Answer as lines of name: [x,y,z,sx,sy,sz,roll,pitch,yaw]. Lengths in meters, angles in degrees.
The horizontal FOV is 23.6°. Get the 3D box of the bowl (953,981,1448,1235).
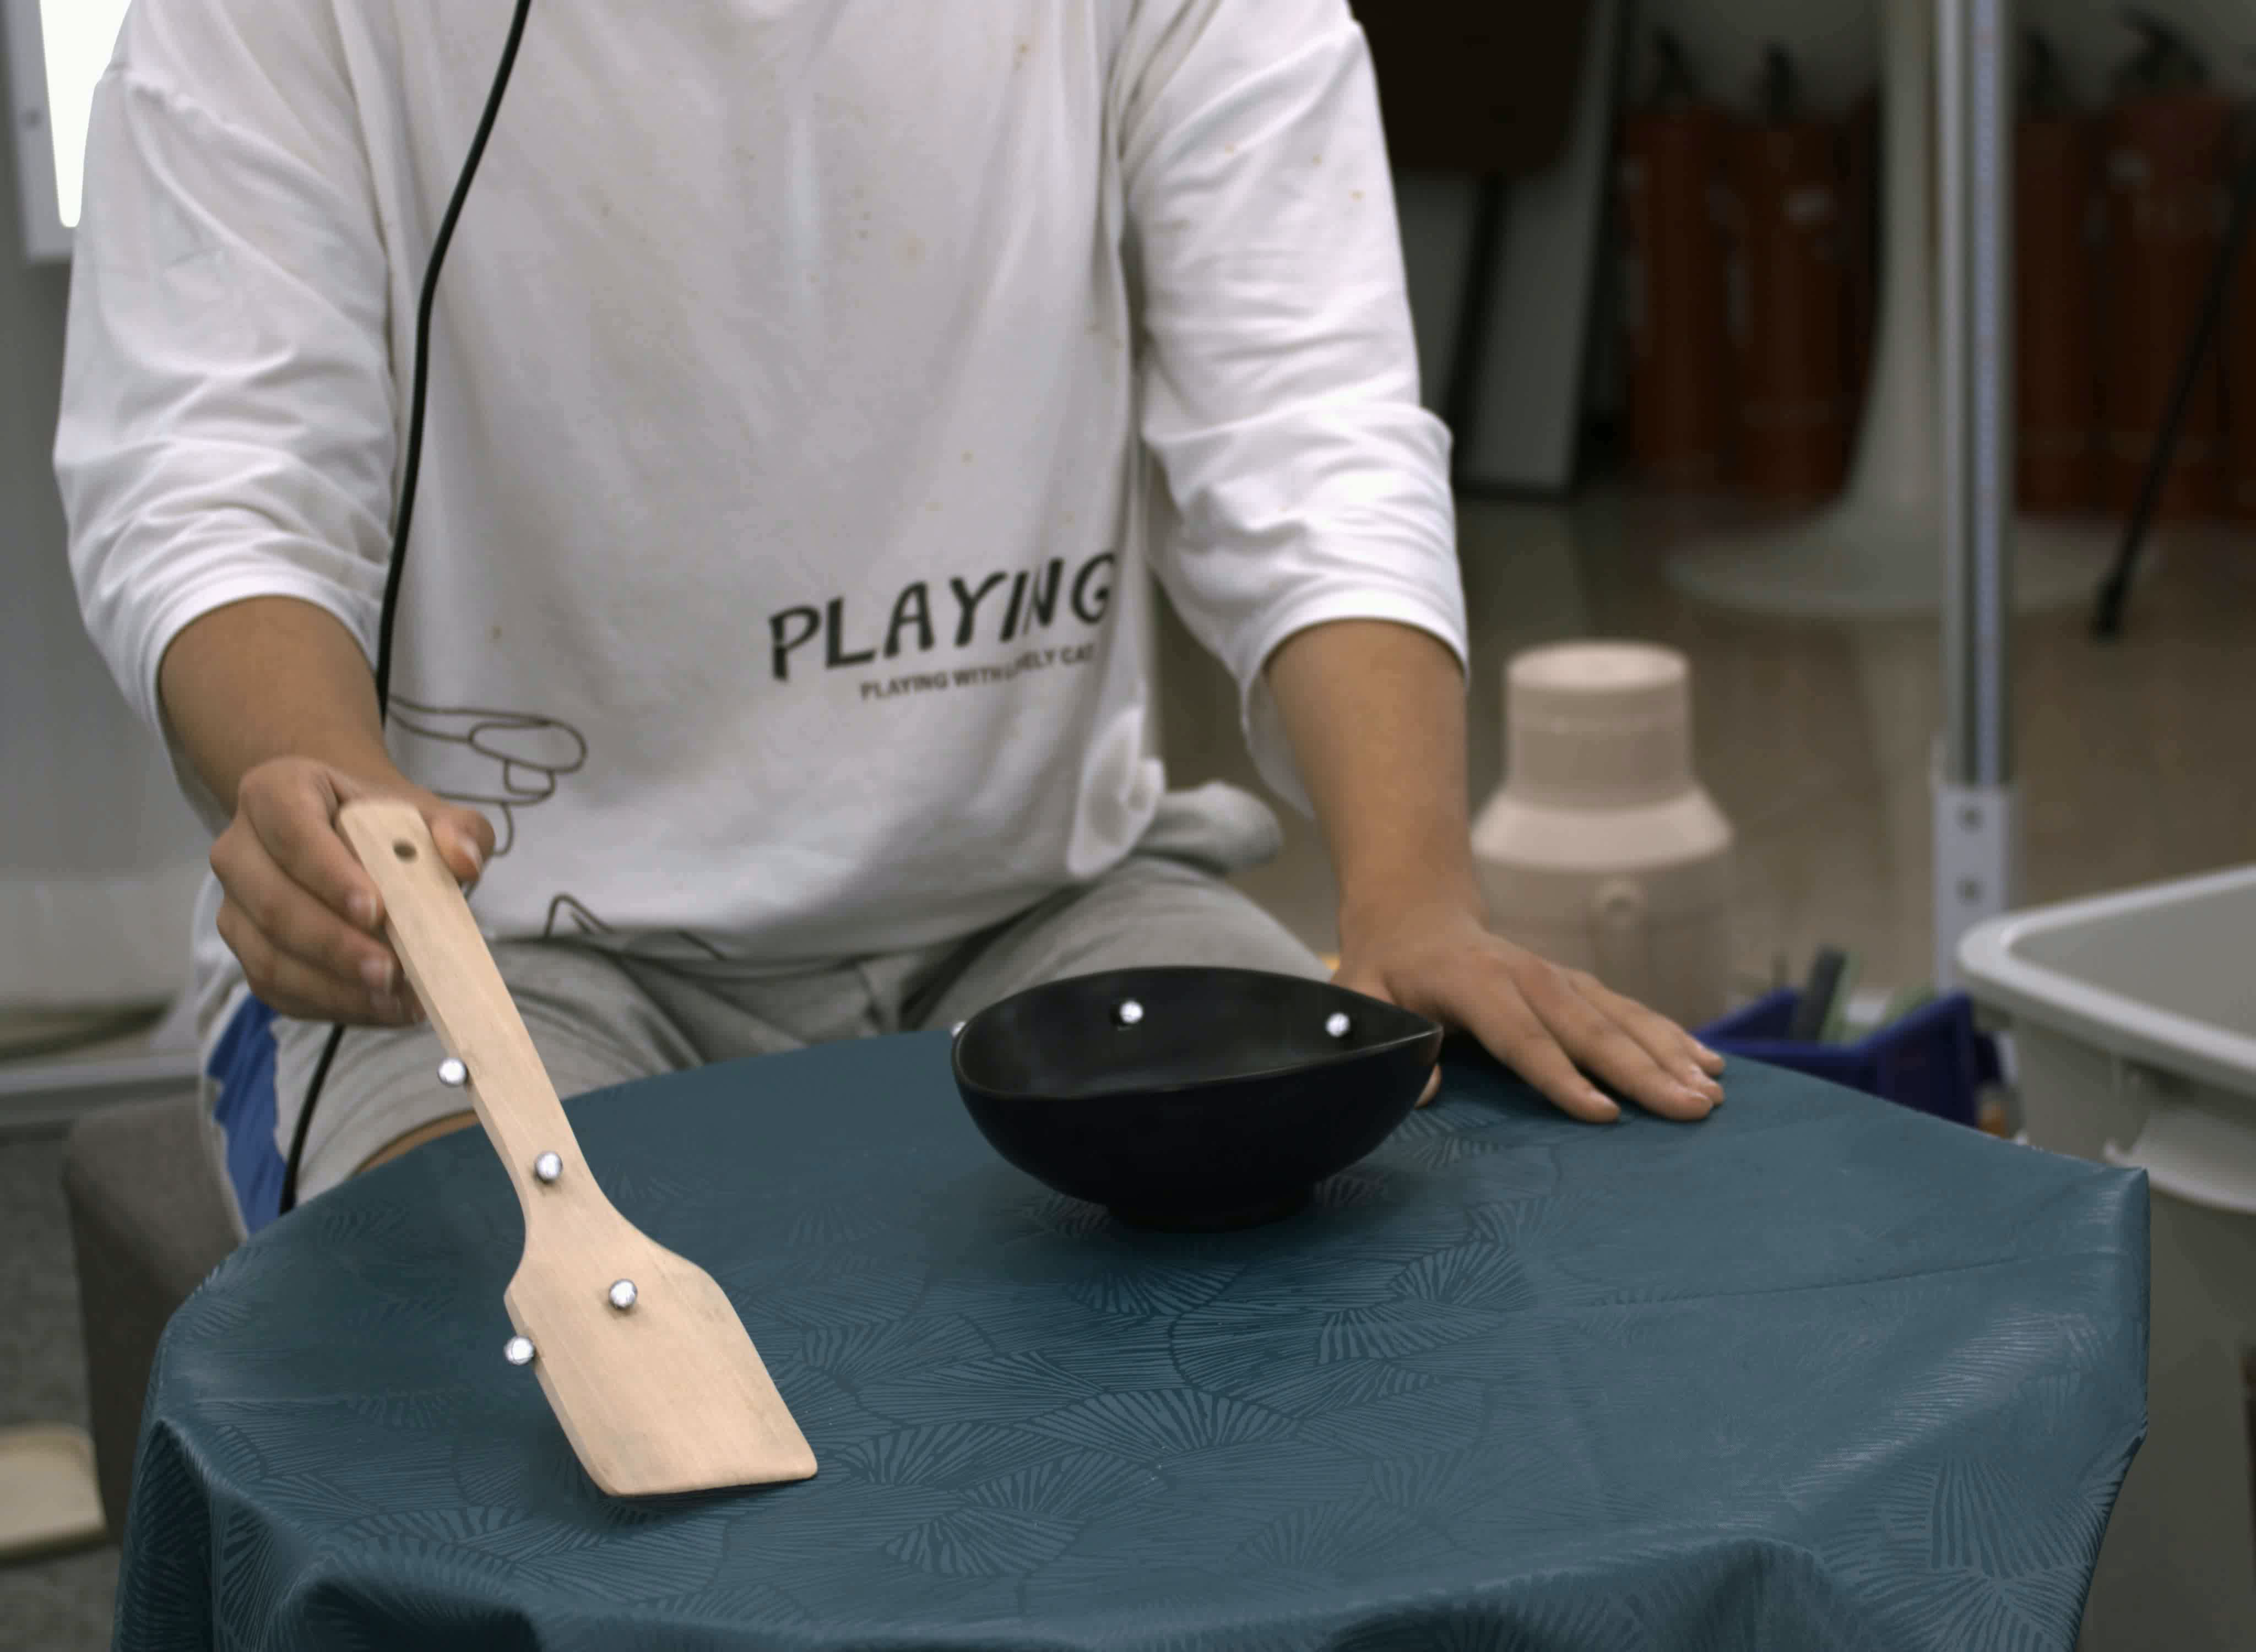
bowl: [0.024,0.093,1.751,0.166,0.067,0.139,-9,13,-29]

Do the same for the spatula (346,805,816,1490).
spatula: [-0.177,0.091,1.611,0.070,0.011,0.297,-1,41,-32]
